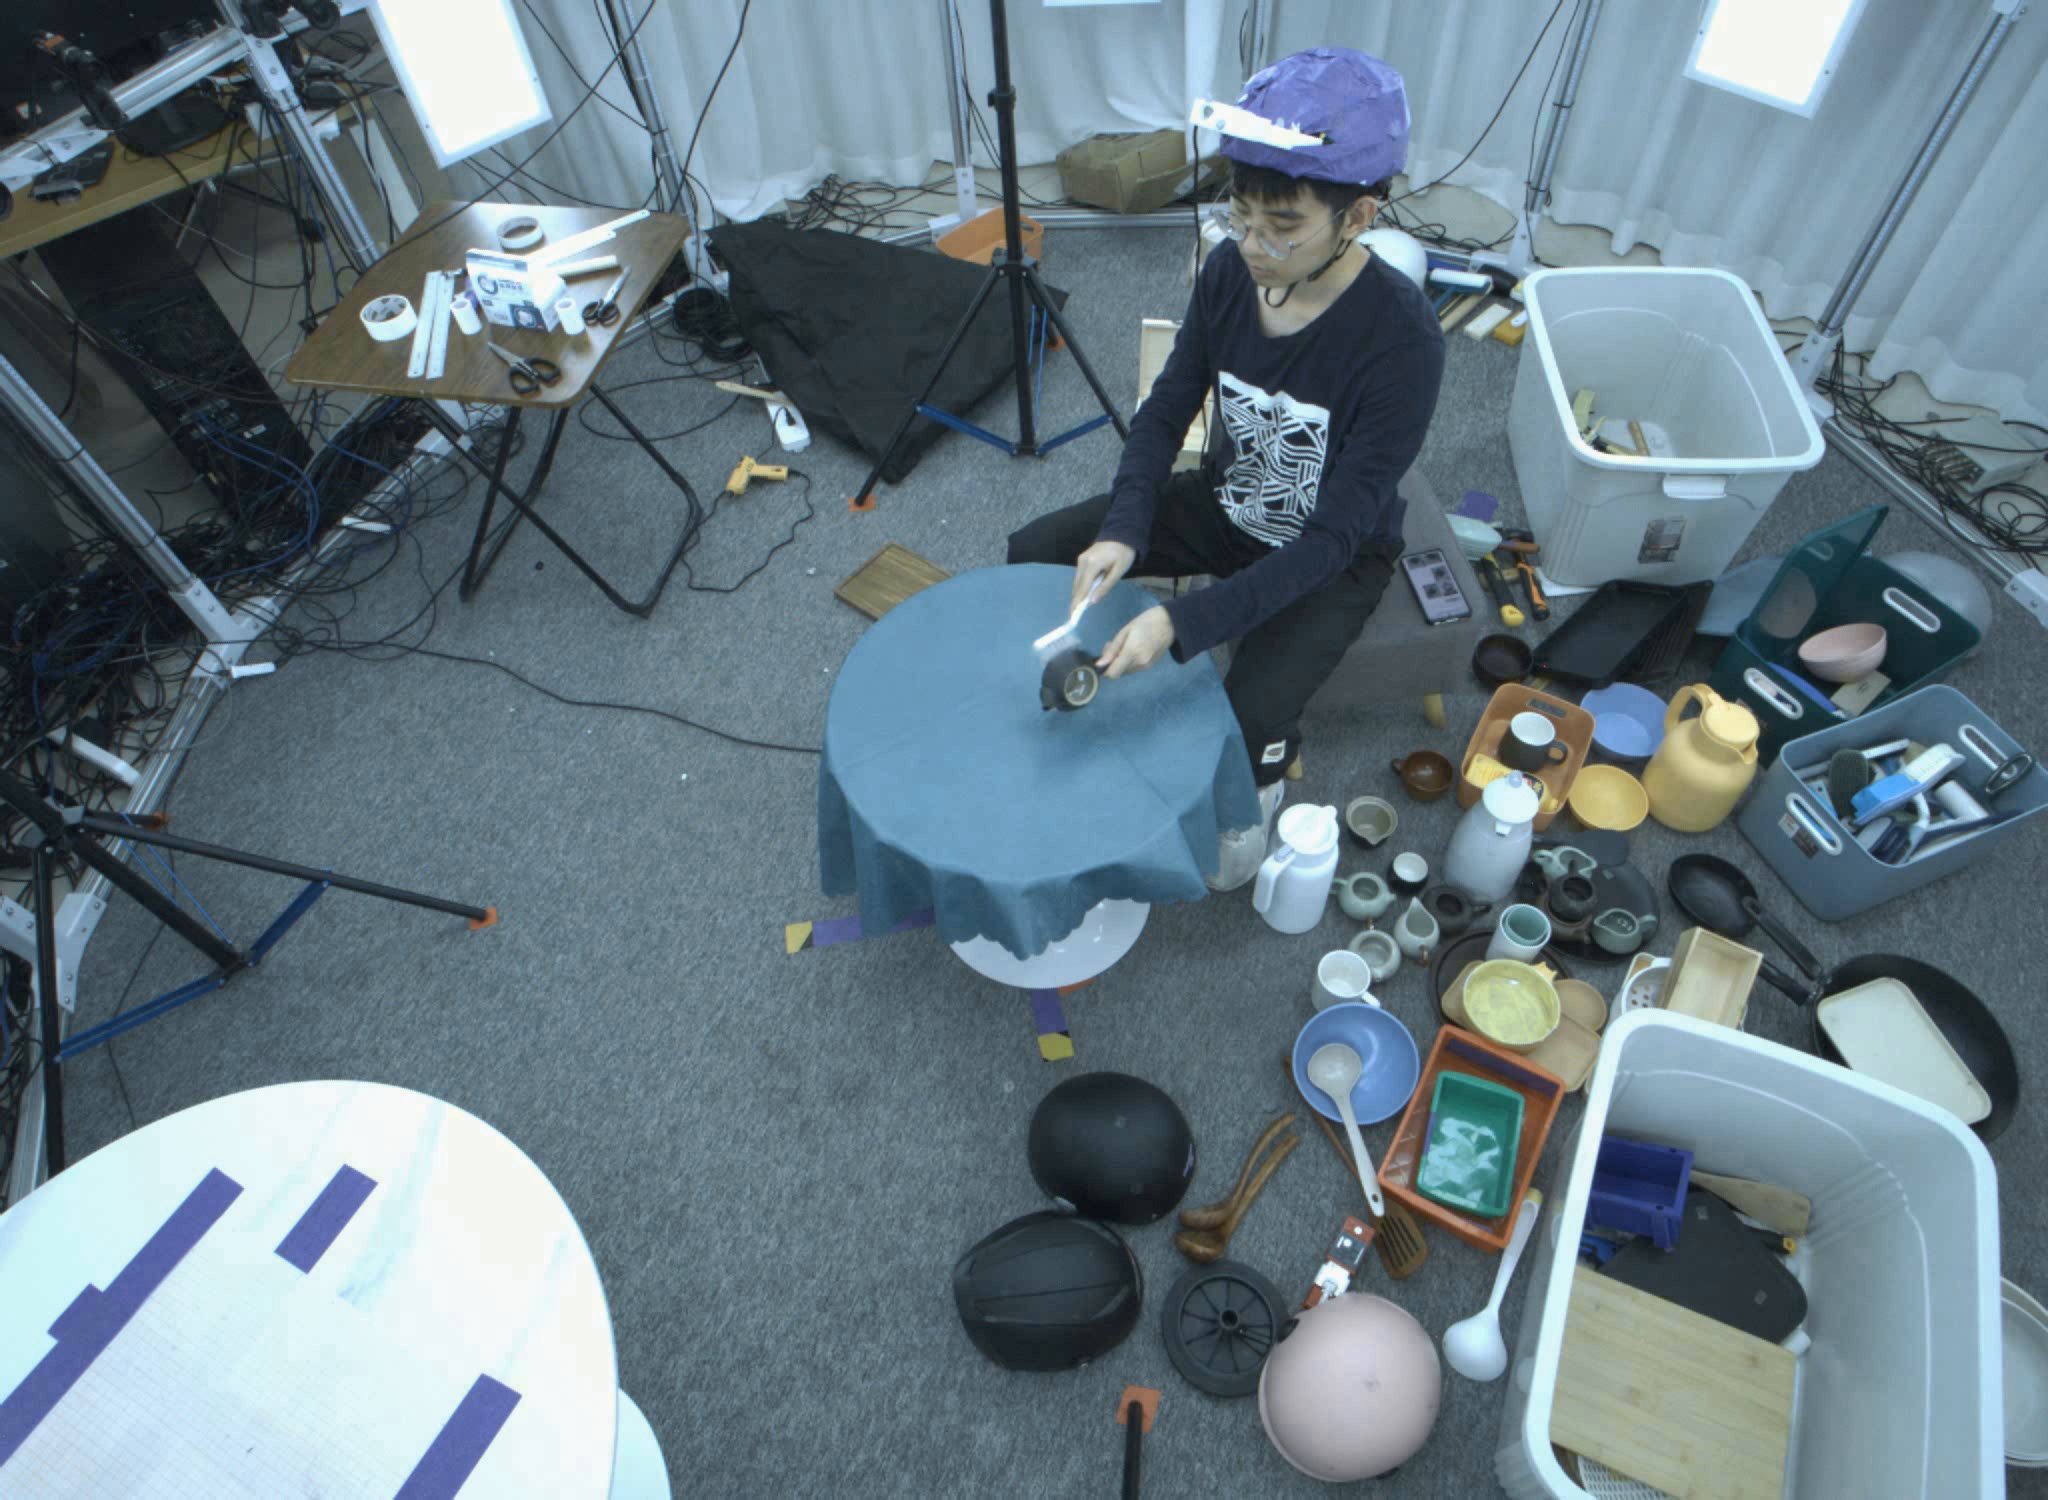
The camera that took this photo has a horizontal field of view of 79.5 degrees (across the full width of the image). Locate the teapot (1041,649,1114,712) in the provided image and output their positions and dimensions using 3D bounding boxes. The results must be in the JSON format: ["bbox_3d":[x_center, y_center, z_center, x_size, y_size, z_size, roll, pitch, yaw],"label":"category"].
[{"bbox_3d":[0.069,-0.098,1.748,0.134,0.092,0.052,-35,36,-17],"label":"teapot"}]

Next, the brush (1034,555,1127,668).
[{"bbox_3d":[0.098,-0.207,1.810,0.049,0.034,0.245,33,58,16],"label":"brush"}]
